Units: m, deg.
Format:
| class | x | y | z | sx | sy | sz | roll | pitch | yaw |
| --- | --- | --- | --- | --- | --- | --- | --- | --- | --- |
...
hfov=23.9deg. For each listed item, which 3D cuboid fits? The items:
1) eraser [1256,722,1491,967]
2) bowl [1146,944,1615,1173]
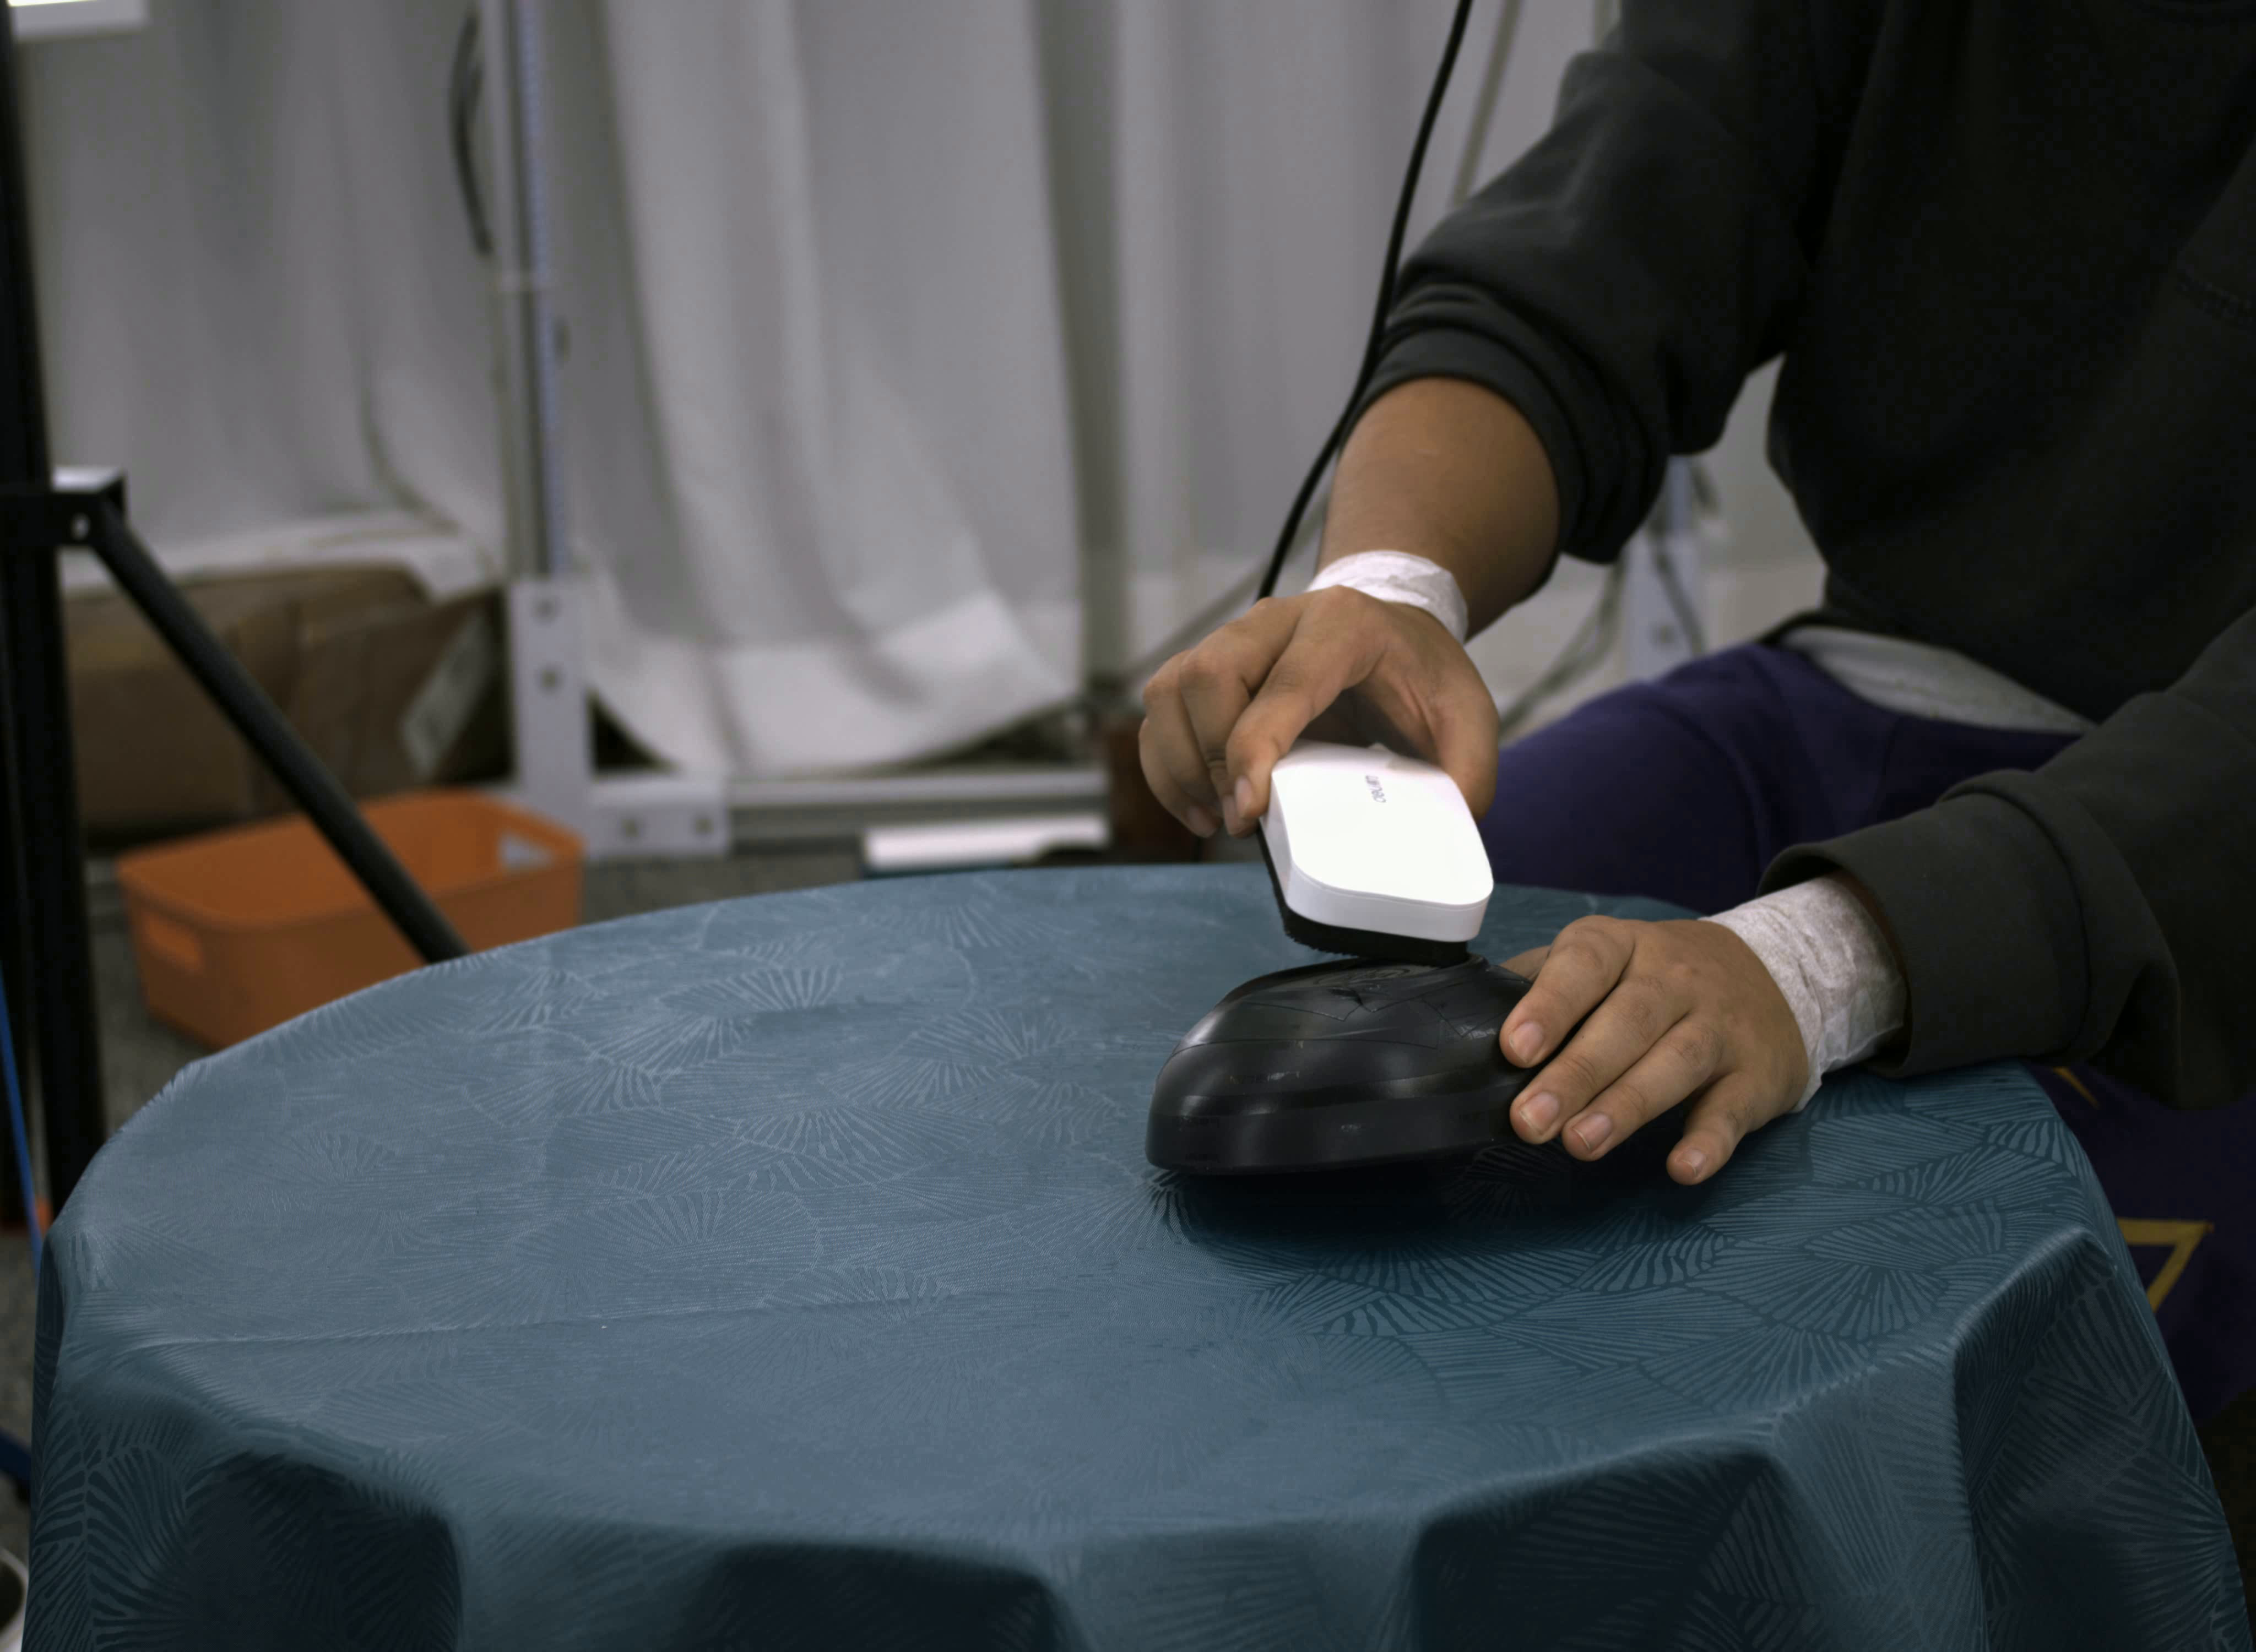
| class | x | y | z | sx | sy | sz | roll | pitch | yaw |
| --- | --- | --- | --- | --- | --- | --- | --- | --- | --- |
| eraser | 0.074 | 0.003 | 1.601 | 0.063 | 0.034 | 0.132 | 9 | 21 | -6 |
| bowl | 0.071 | 0.065 | 1.555 | 0.139 | 0.050 | 0.140 | -9 | 4 | -1 |
